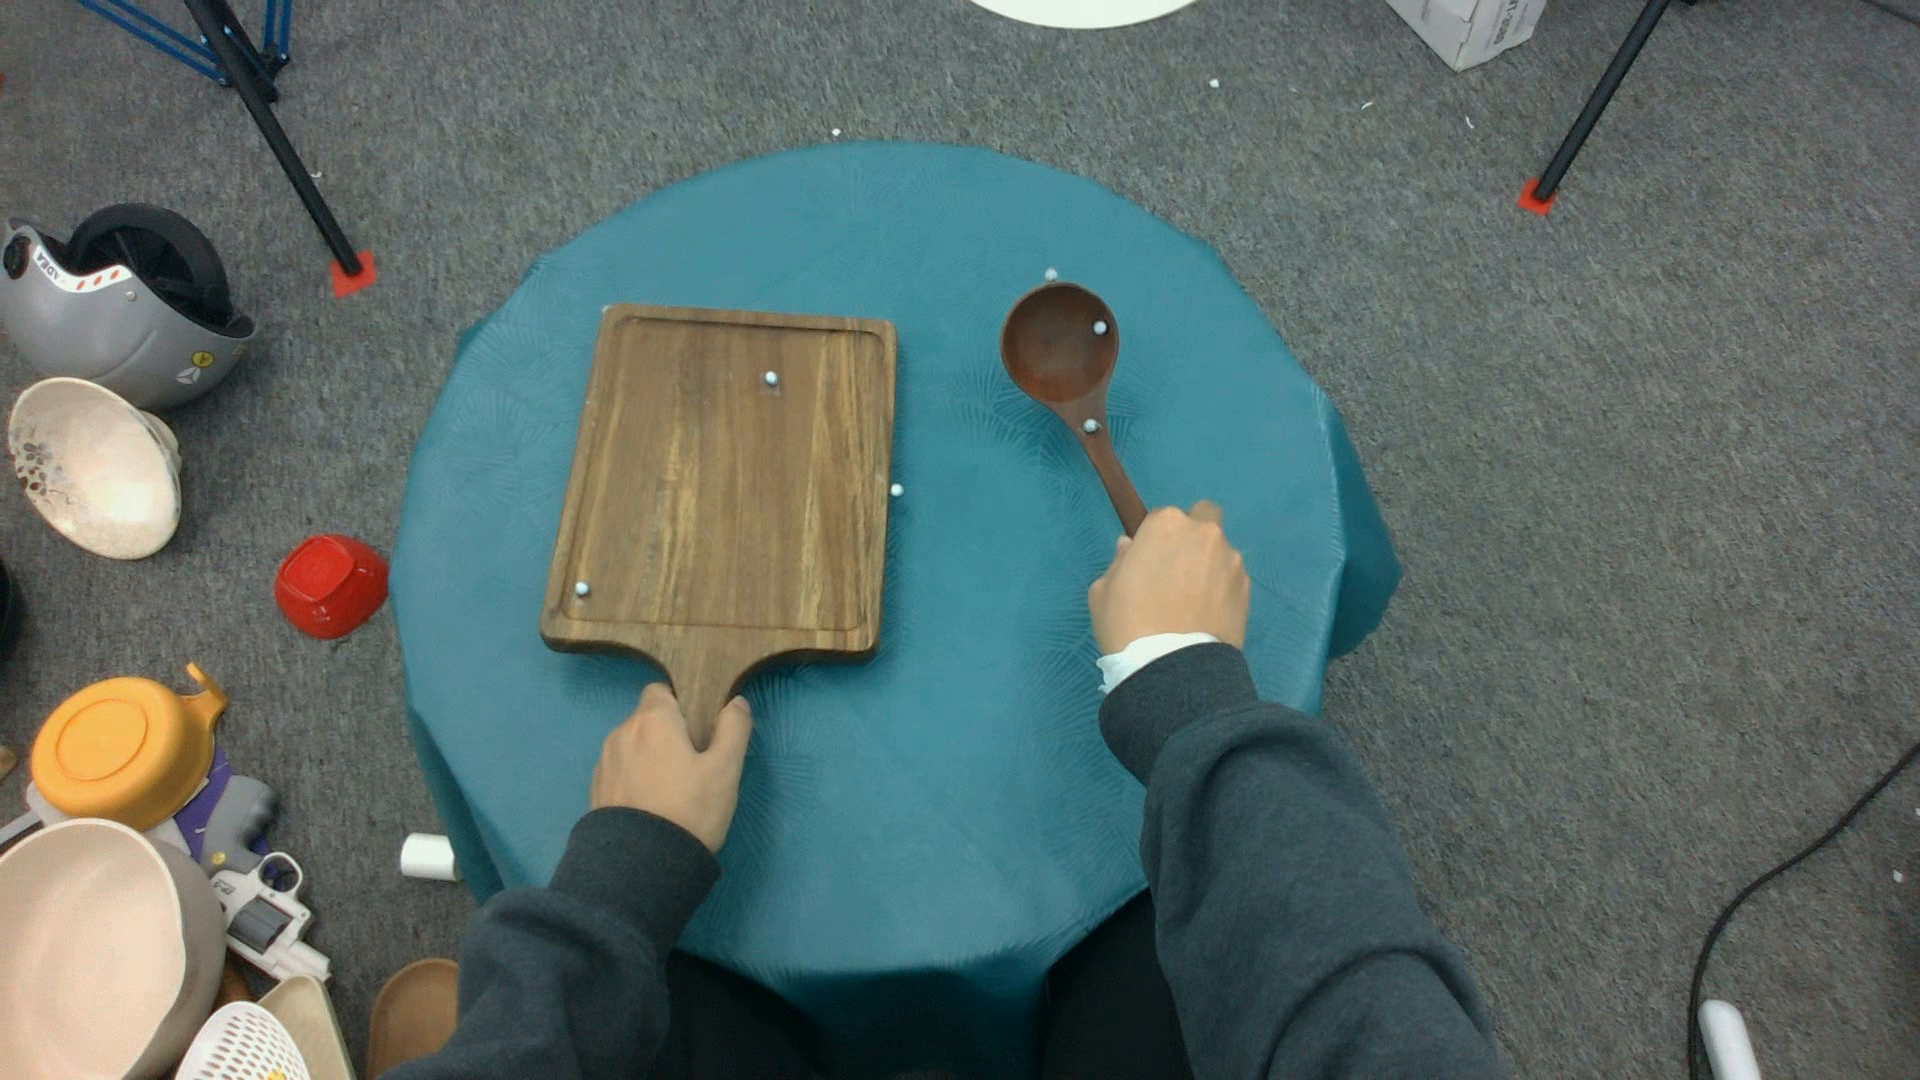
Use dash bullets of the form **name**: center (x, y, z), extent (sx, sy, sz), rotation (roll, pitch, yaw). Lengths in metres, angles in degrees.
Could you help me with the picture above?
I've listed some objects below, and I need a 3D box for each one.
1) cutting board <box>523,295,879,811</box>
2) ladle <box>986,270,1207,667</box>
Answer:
- **cutting board**: center (-0.153, -0.008, 0.832), extent (0.201, 0.023, 0.353), rotation (2, 58, -3)
- **ladle**: center (0.085, -0.047, 0.816), extent (0.076, 0.065, 0.261), rotation (-22, 63, 3)
